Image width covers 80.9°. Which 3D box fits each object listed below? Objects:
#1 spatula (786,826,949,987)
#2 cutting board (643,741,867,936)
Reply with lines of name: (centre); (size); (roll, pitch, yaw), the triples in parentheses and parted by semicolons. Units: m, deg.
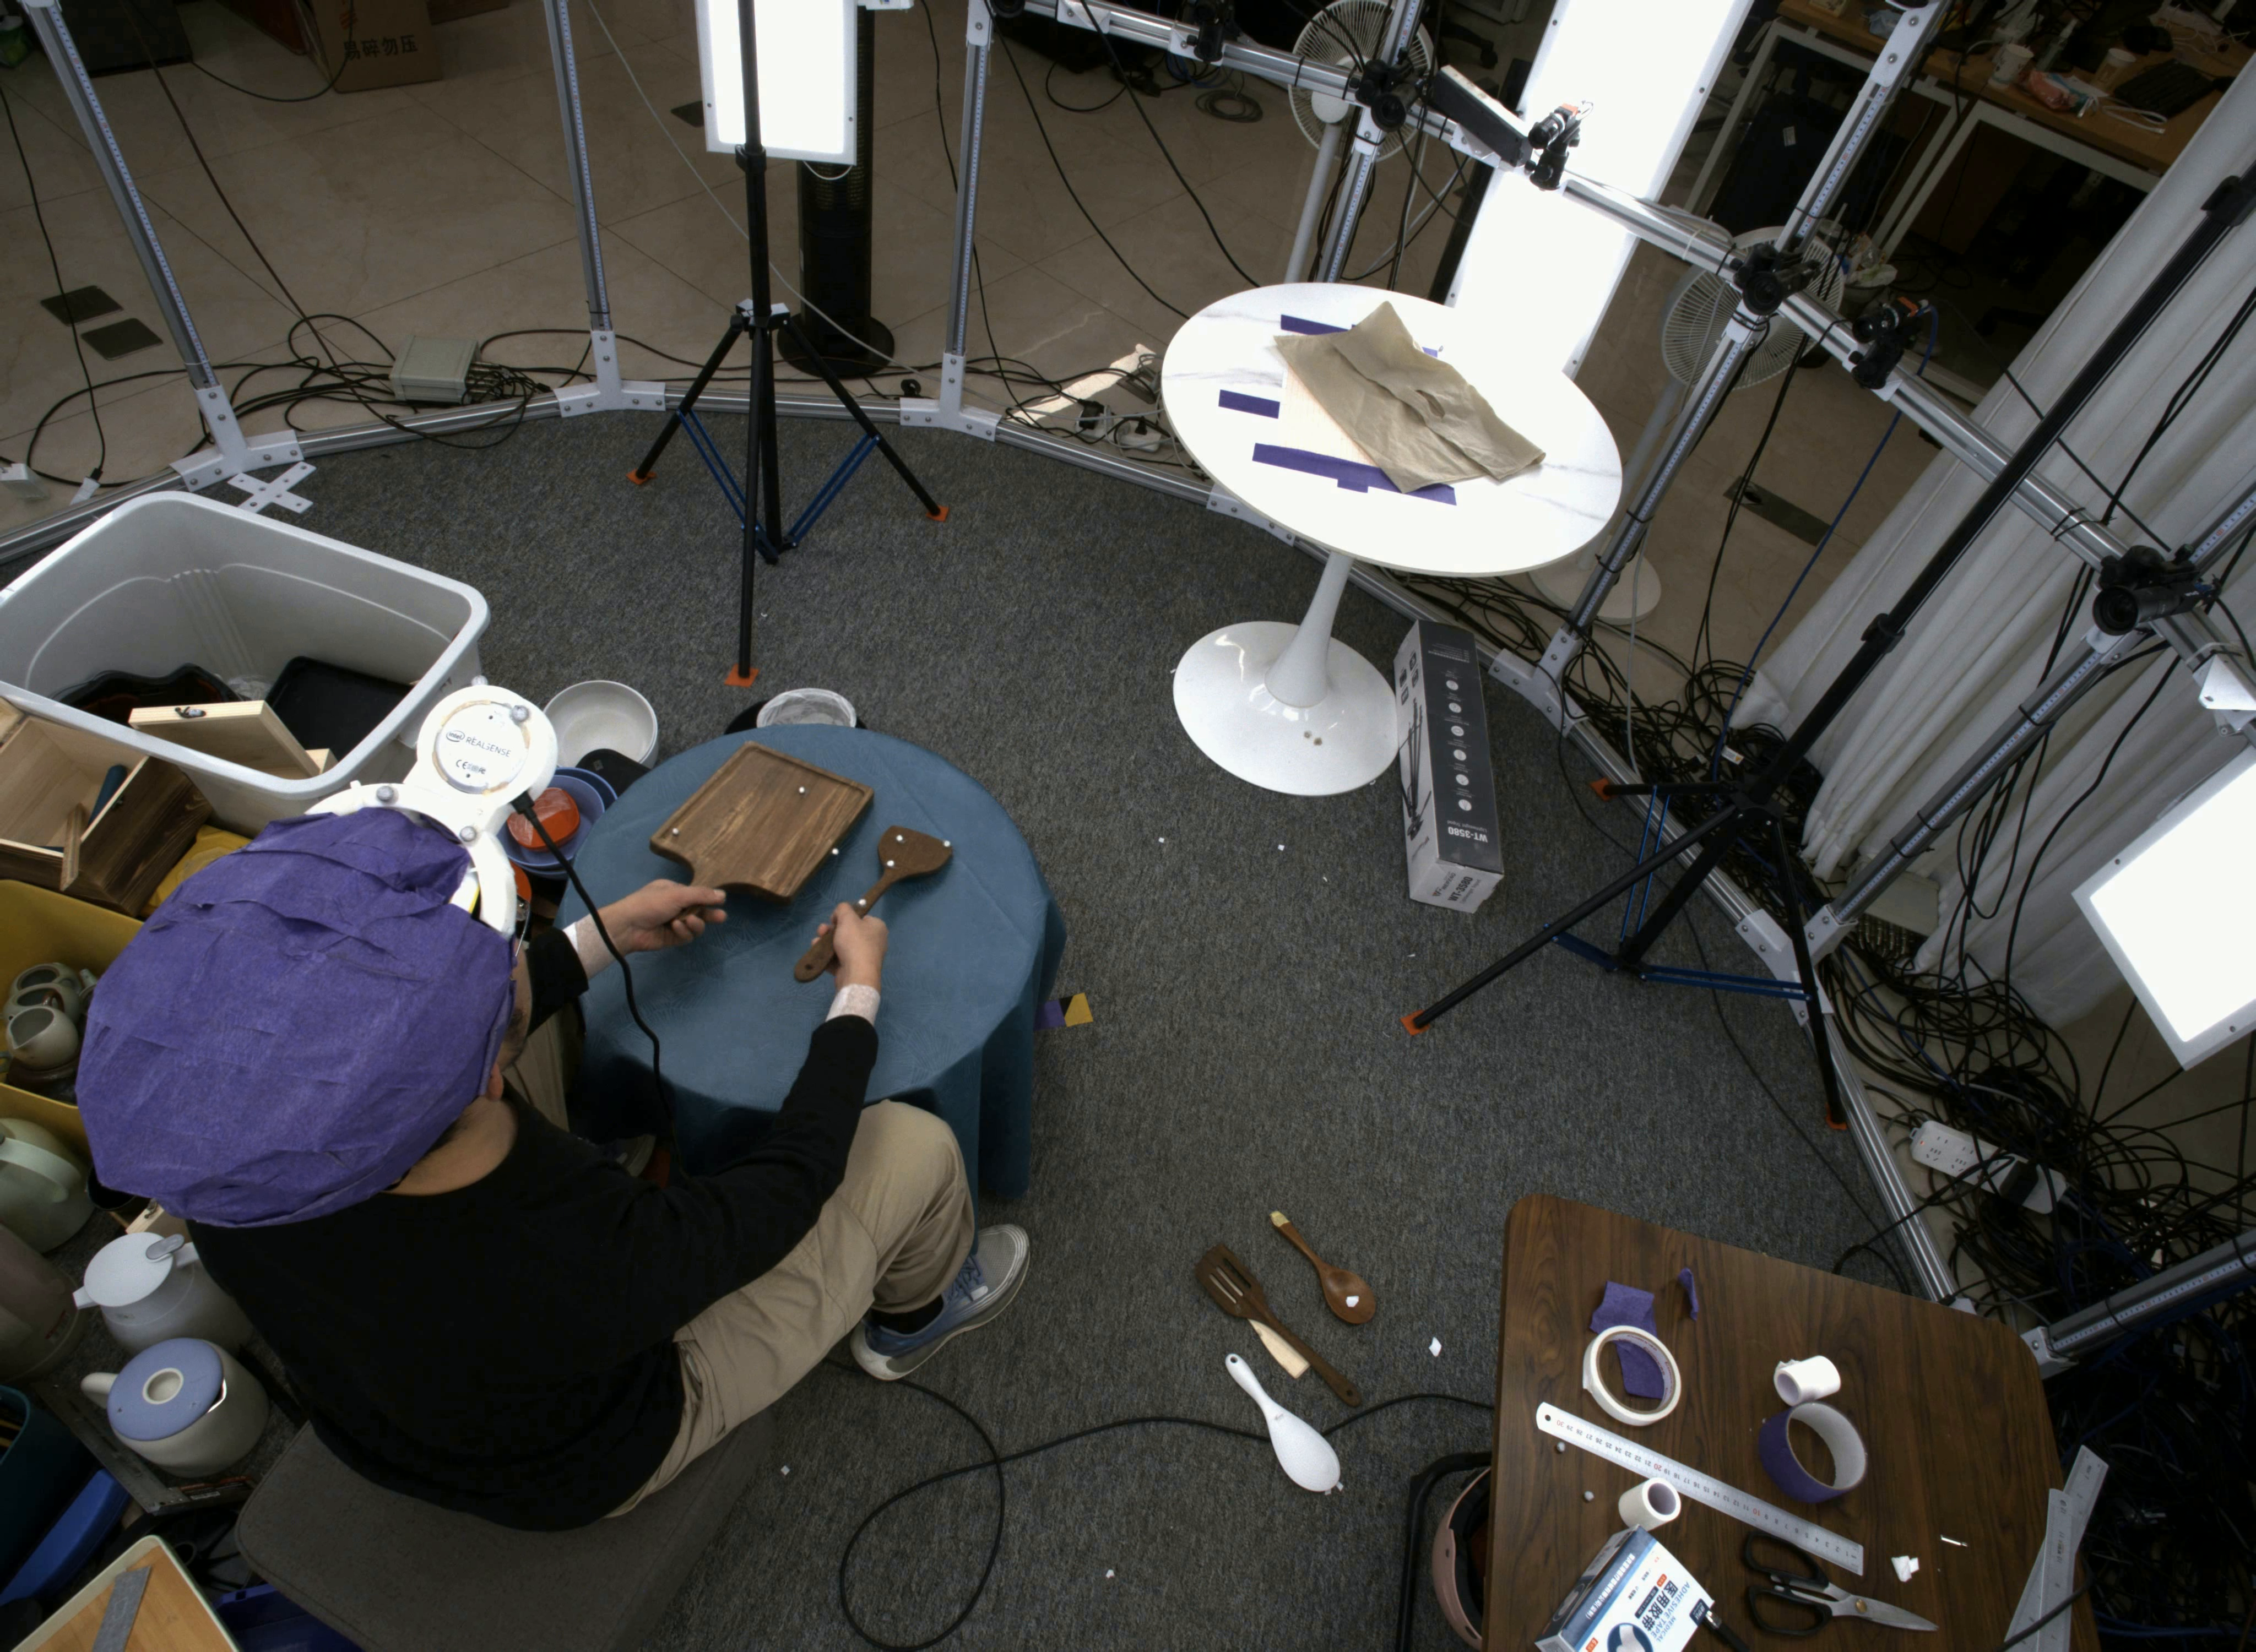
spatula: (-0.322, 0.091, 1.582); (0.095, 0.016, 0.382); (22, 27, 4)
cutting board: (-0.487, 0.018, 1.627); (0.199, 0.024, 0.348); (22, 38, 2)
